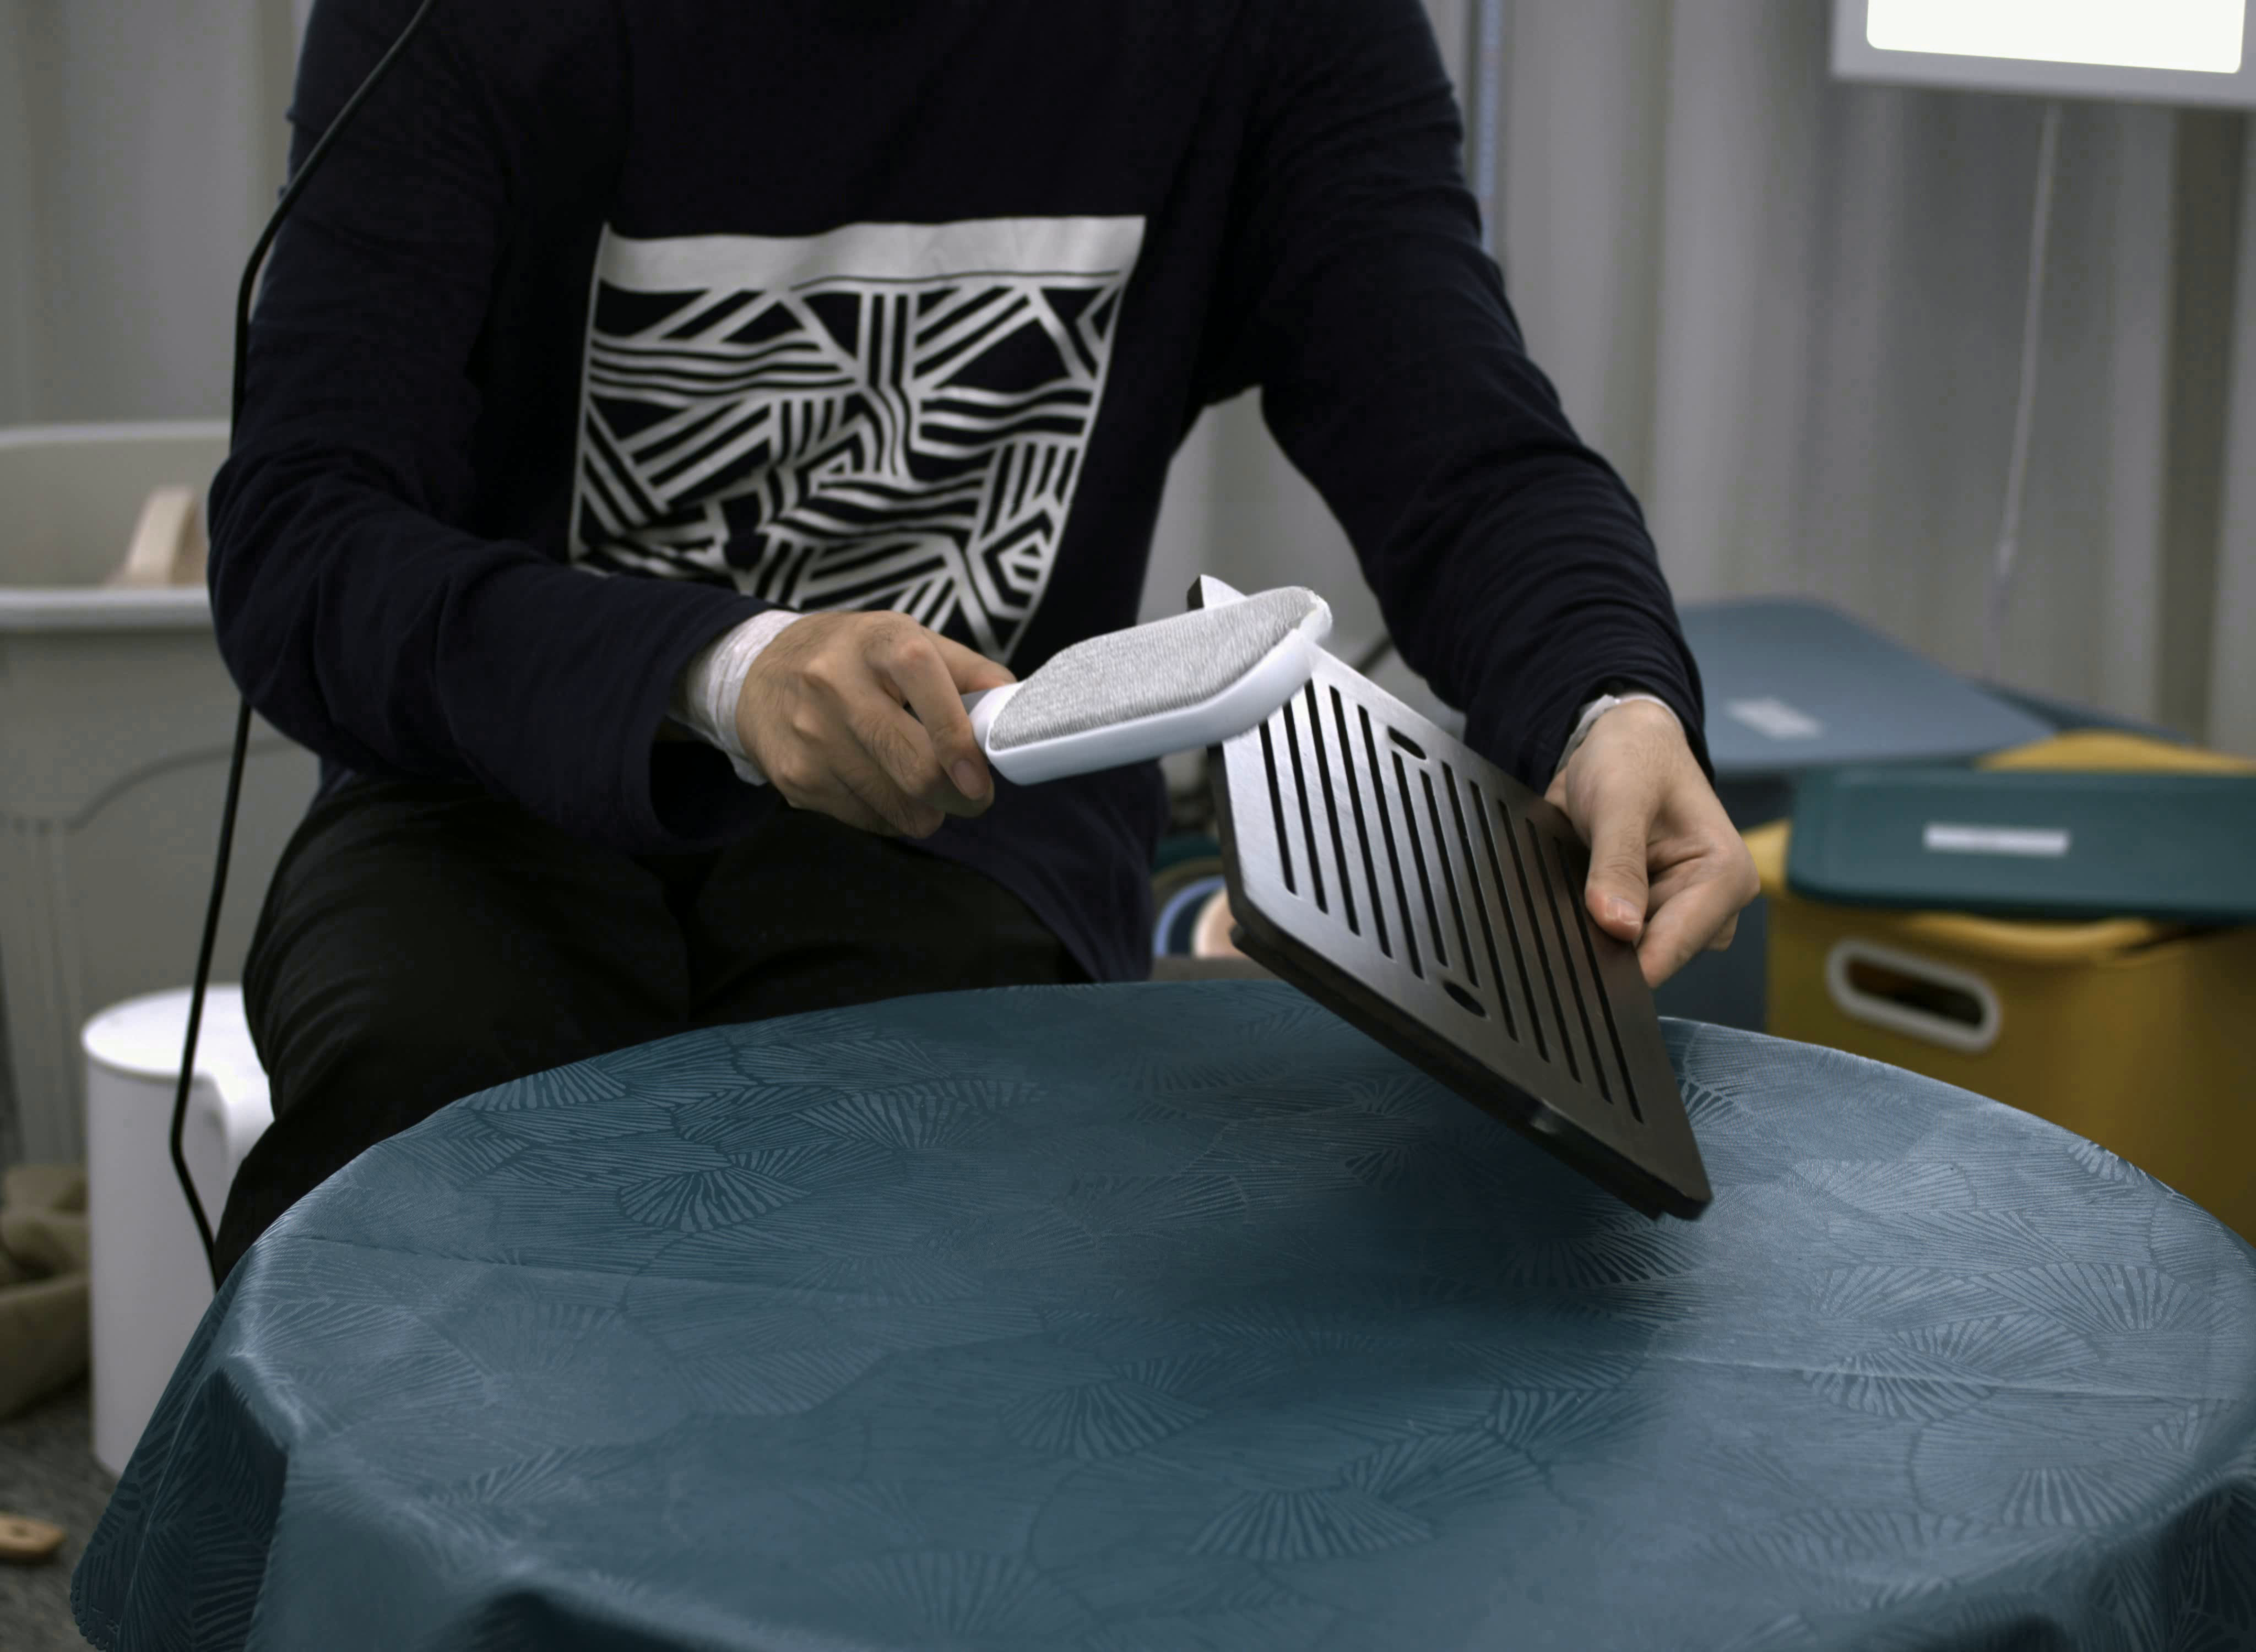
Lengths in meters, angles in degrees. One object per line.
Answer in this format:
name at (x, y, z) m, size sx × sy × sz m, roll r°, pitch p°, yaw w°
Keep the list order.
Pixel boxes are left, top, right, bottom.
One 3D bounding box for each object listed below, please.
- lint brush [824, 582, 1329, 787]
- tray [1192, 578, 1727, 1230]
lint brush at (-0.023, -0.039, 1.699) m, size 0.060 × 0.021 × 0.306 m, roll -56°, pitch 21°, yaw -22°
tray at (0.094, 0.021, 1.635) m, size 0.171 × 0.018 × 0.303 m, roll 33°, pitch 16°, yaw -15°
